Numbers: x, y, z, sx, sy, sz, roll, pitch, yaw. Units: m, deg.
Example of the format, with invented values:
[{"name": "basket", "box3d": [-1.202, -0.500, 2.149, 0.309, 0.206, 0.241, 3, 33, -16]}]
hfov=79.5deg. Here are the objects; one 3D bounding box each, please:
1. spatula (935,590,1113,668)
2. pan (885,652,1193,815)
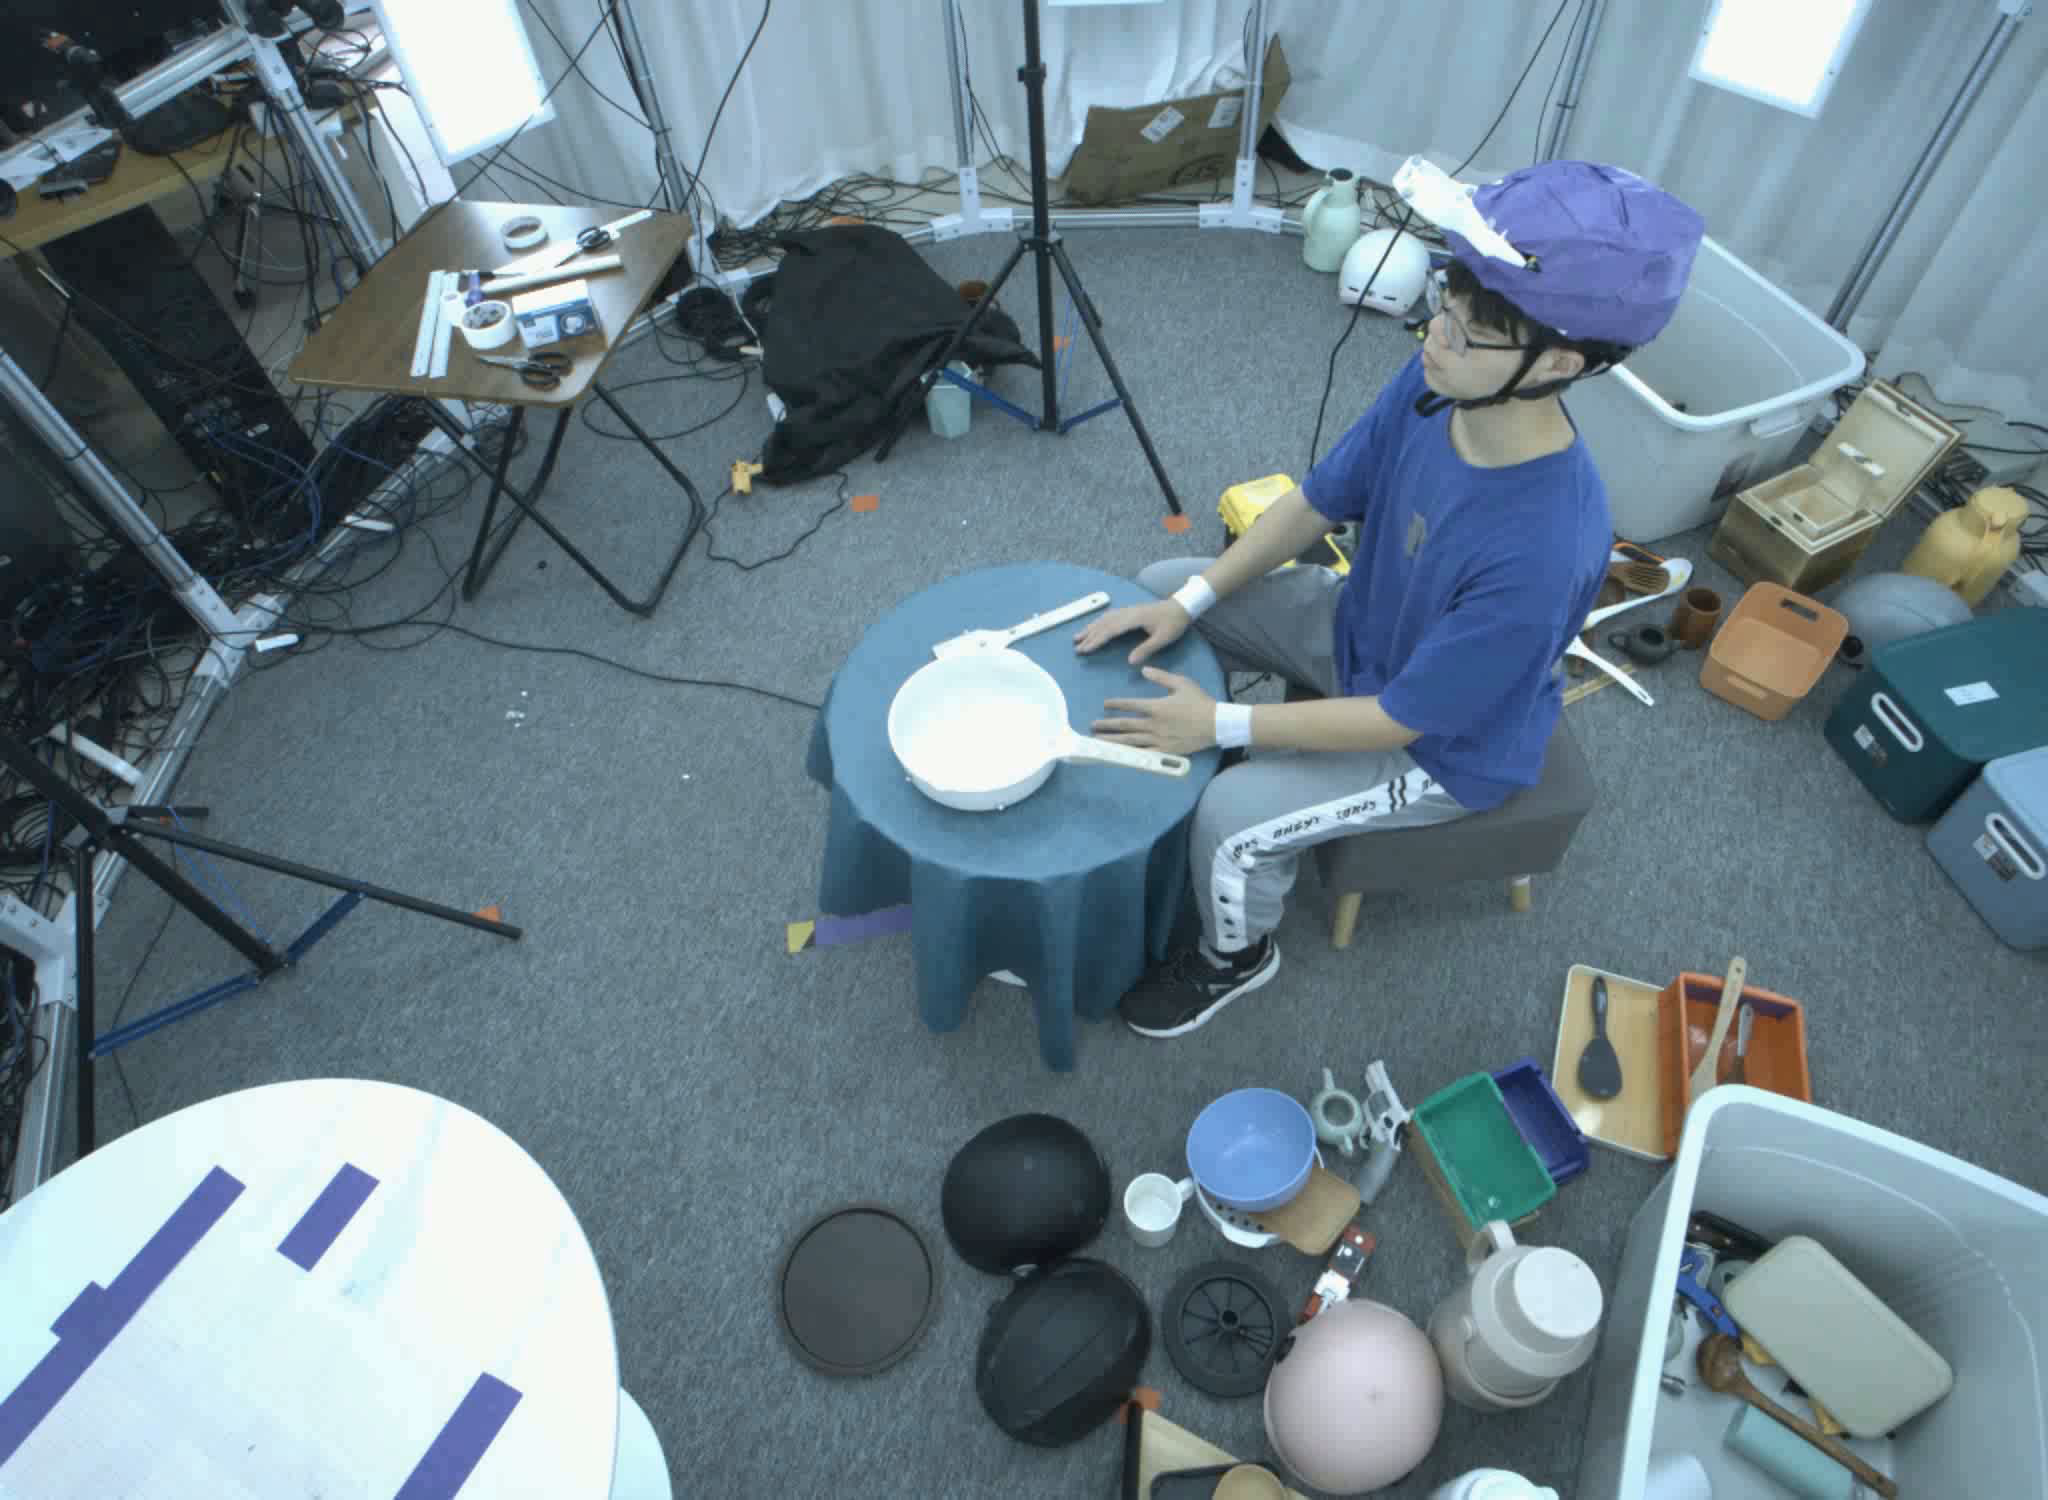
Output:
[{"name": "spatula", "box3d": [0.005, -0.189, 1.907, 0.295, 0.011, 0.071, -23, 55, -14]}, {"name": "pan", "box3d": [0.020, 0.001, 1.715, 0.431, 0.103, 0.263, 15, 55, 12]}]
